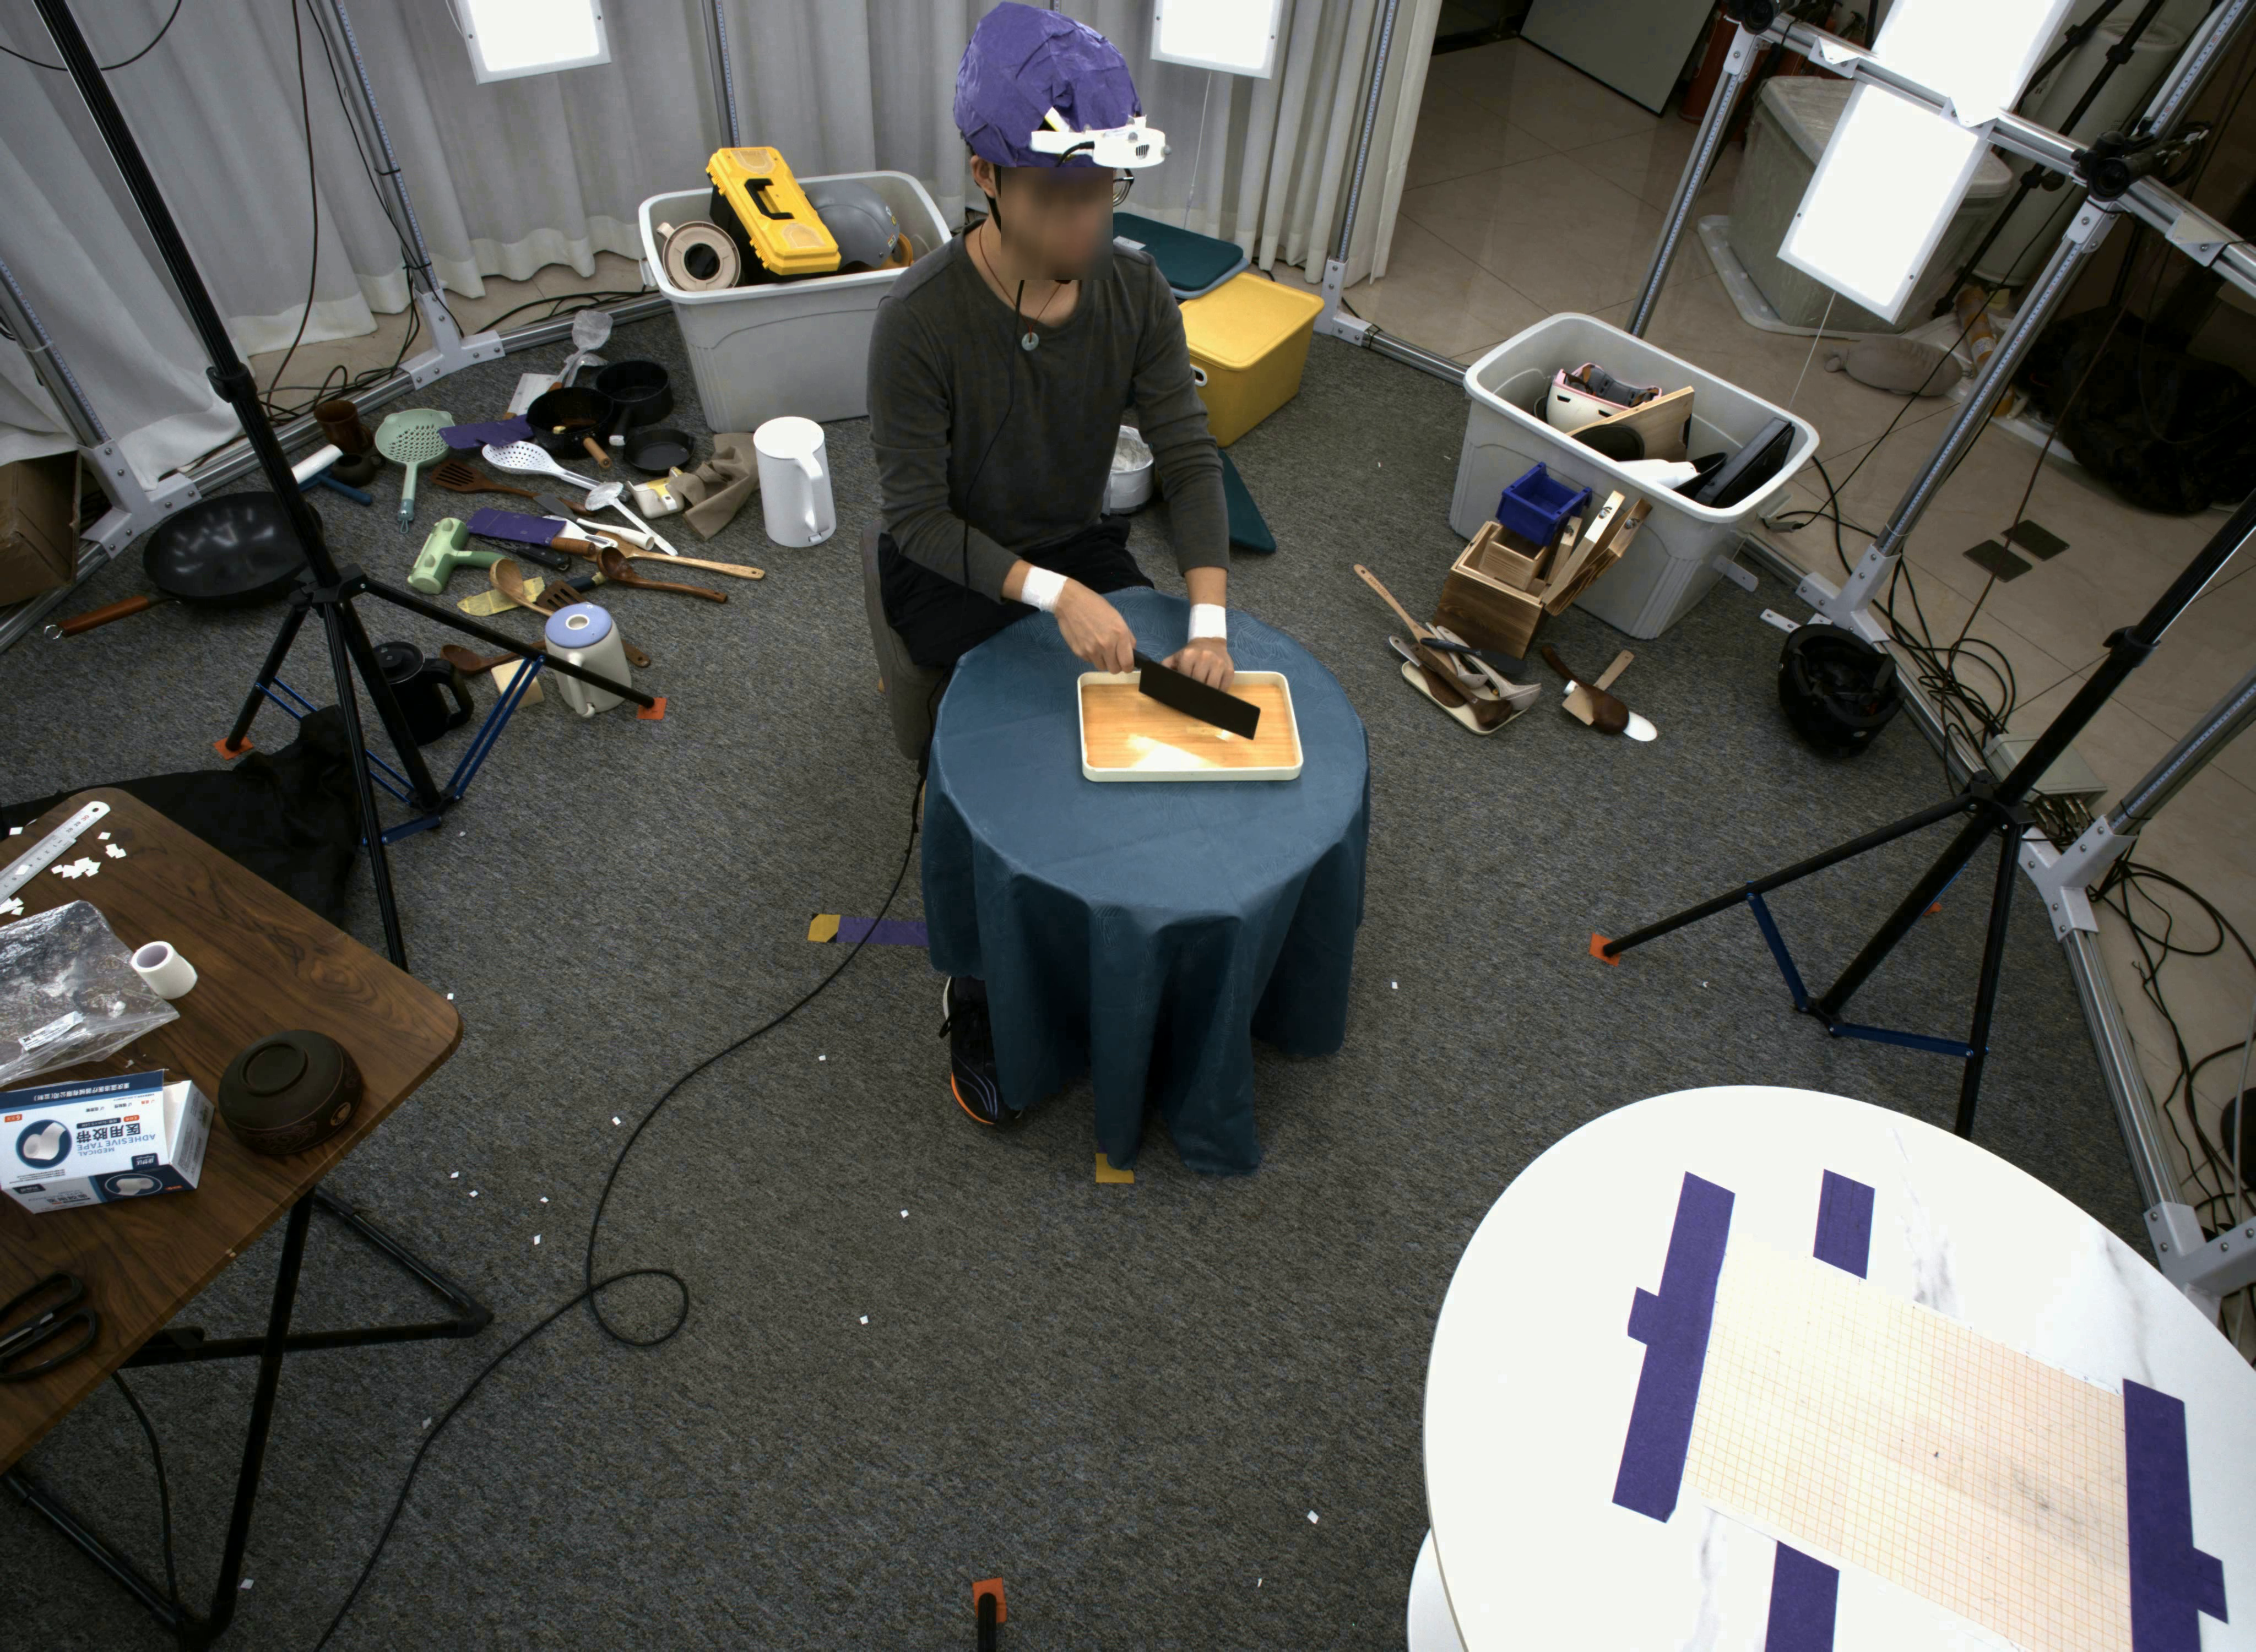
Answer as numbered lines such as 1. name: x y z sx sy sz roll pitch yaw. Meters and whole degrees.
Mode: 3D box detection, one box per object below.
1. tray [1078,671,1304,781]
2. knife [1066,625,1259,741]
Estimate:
1. tray: 0.083 -0.141 1.778 0.300 0.027 0.196 -1 49 -4
2. knife: 0.045 -0.201 1.776 0.304 0.079 0.021 29 50 13
